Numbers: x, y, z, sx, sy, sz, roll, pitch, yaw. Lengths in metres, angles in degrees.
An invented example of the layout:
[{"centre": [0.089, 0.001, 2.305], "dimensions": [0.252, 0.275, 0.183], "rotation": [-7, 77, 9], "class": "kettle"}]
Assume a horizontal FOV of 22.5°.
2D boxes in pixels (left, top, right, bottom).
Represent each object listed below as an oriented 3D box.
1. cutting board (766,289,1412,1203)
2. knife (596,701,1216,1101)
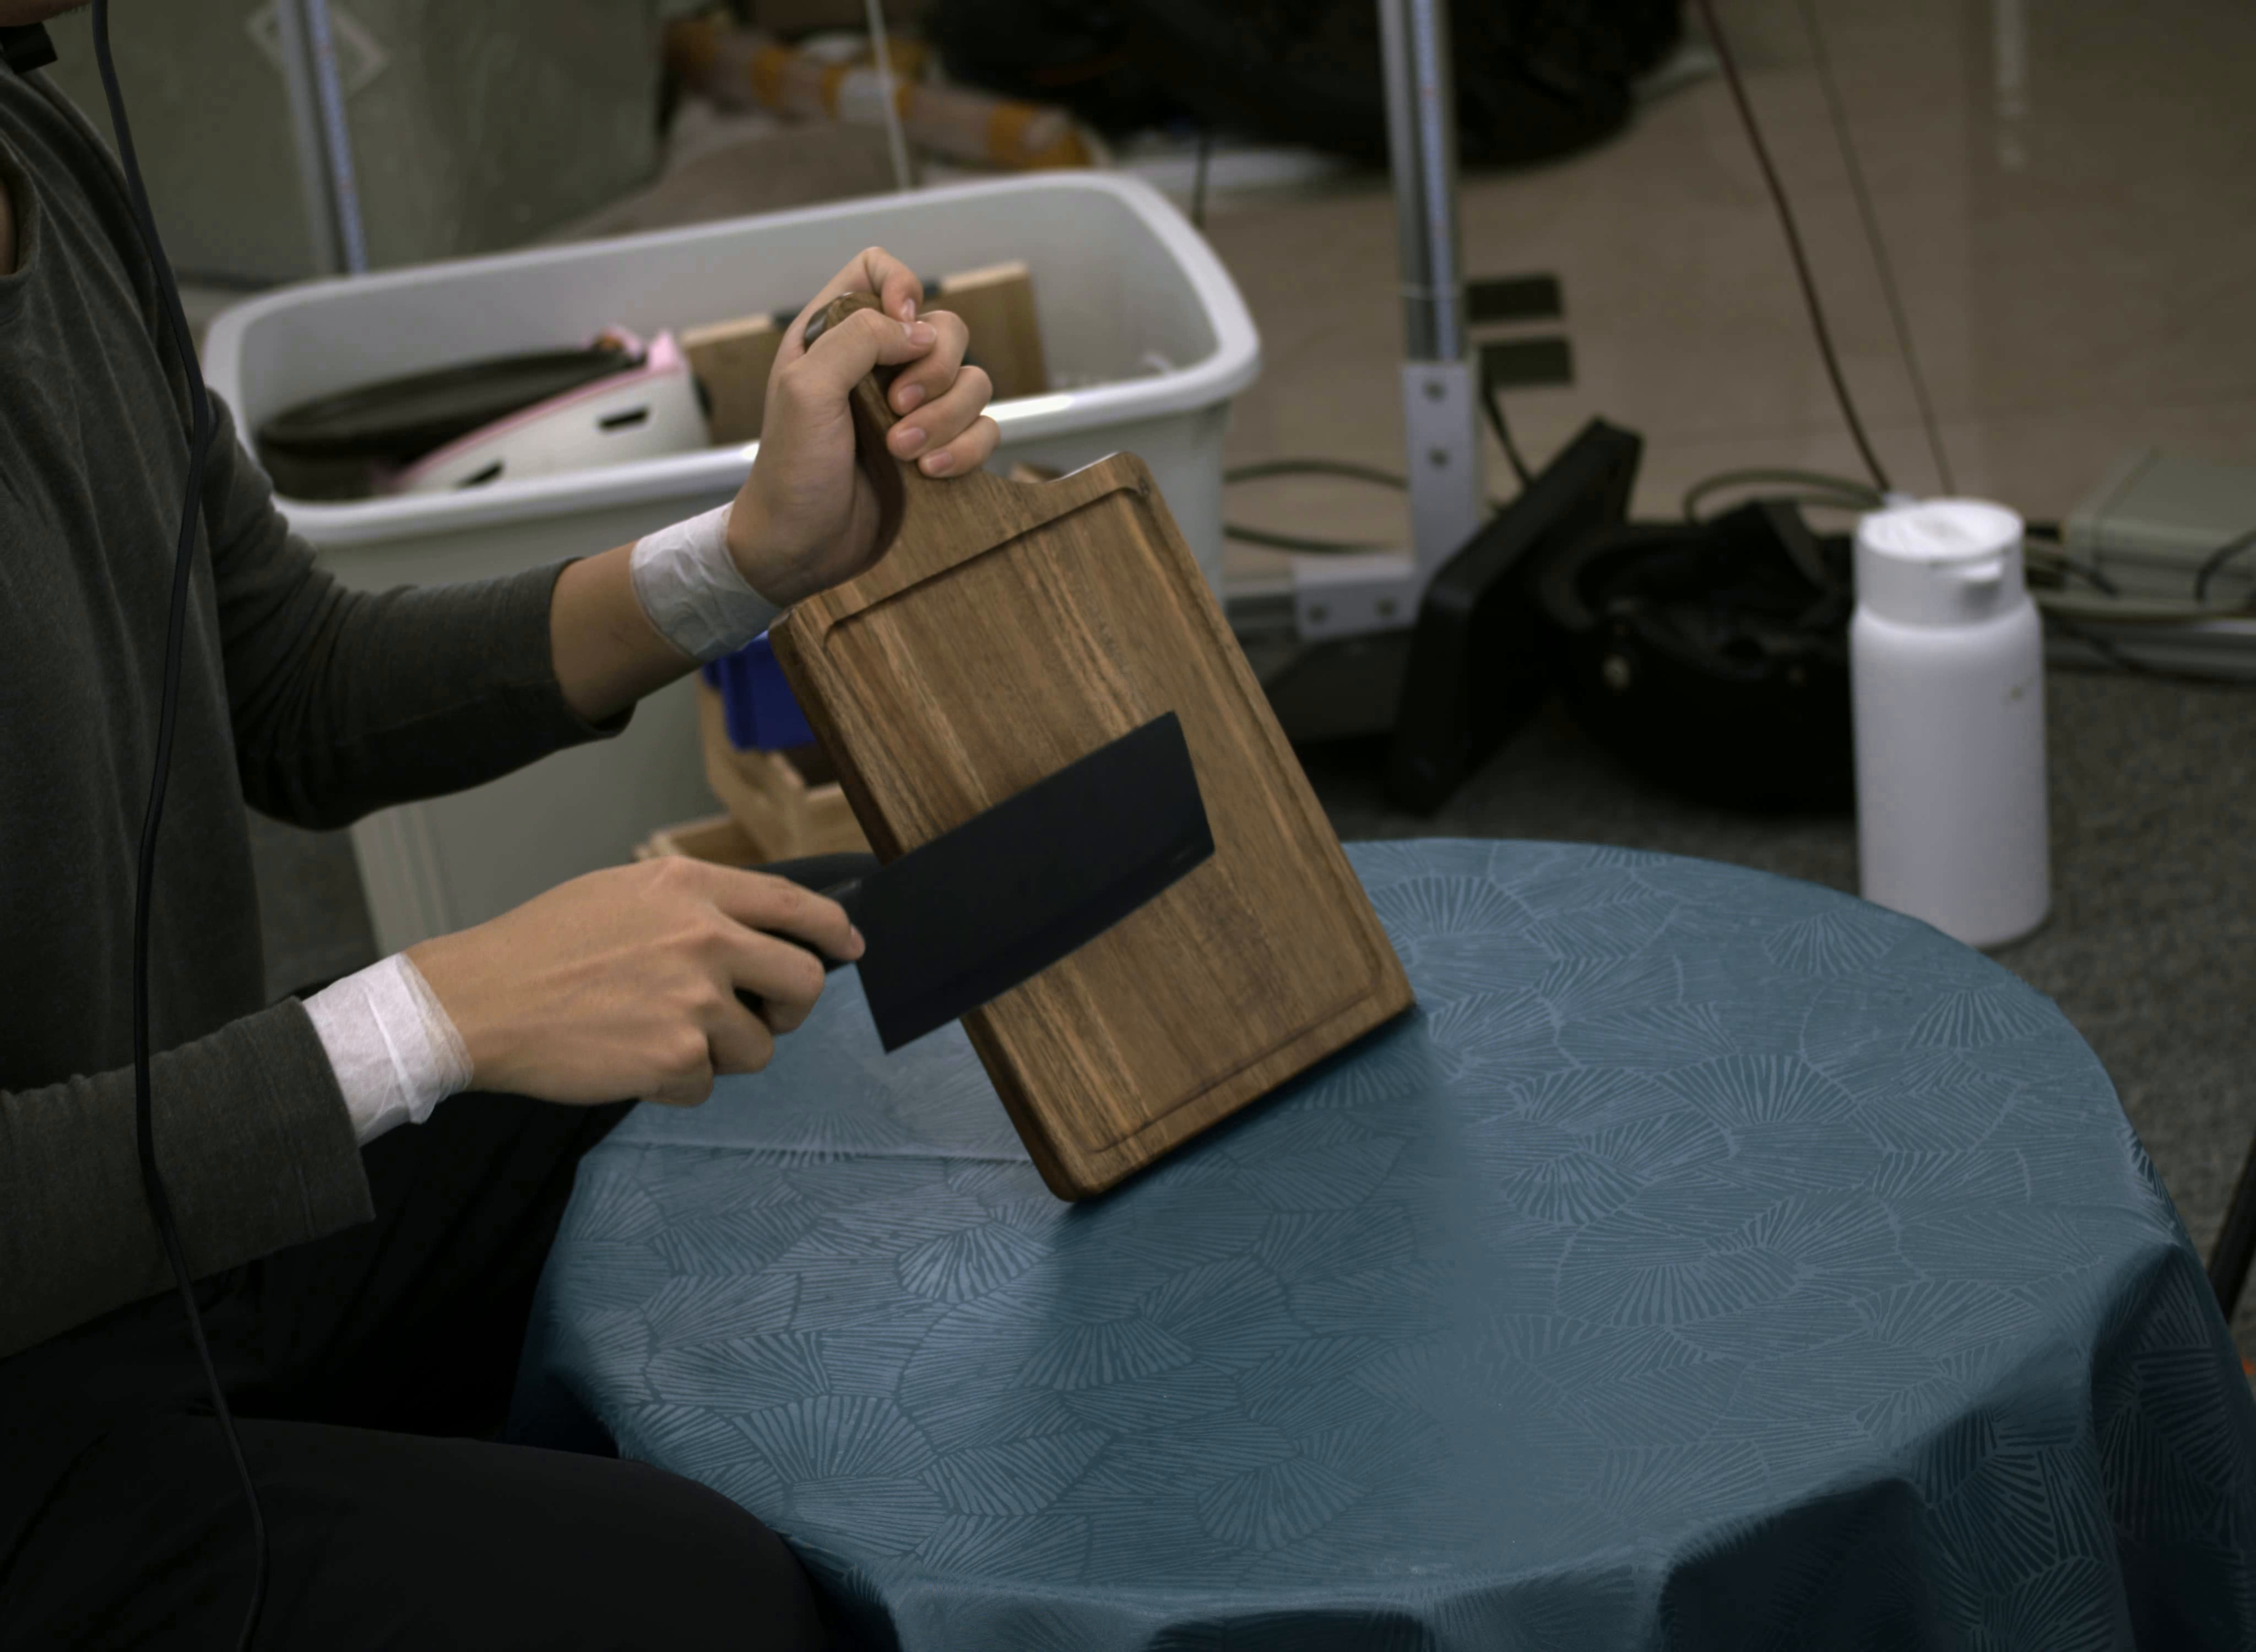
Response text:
[{"centre": [-0.034, -0.048, 2.188], "dimensions": [0.199, 0.353, 0.023], "rotation": [-30, 4, -39], "class": "cutting board"}, {"centre": [-0.077, 0.035, 2.074], "dimensions": [0.300, 0.082, 0.021], "rotation": [-24, 18, -39], "class": "knife"}]
